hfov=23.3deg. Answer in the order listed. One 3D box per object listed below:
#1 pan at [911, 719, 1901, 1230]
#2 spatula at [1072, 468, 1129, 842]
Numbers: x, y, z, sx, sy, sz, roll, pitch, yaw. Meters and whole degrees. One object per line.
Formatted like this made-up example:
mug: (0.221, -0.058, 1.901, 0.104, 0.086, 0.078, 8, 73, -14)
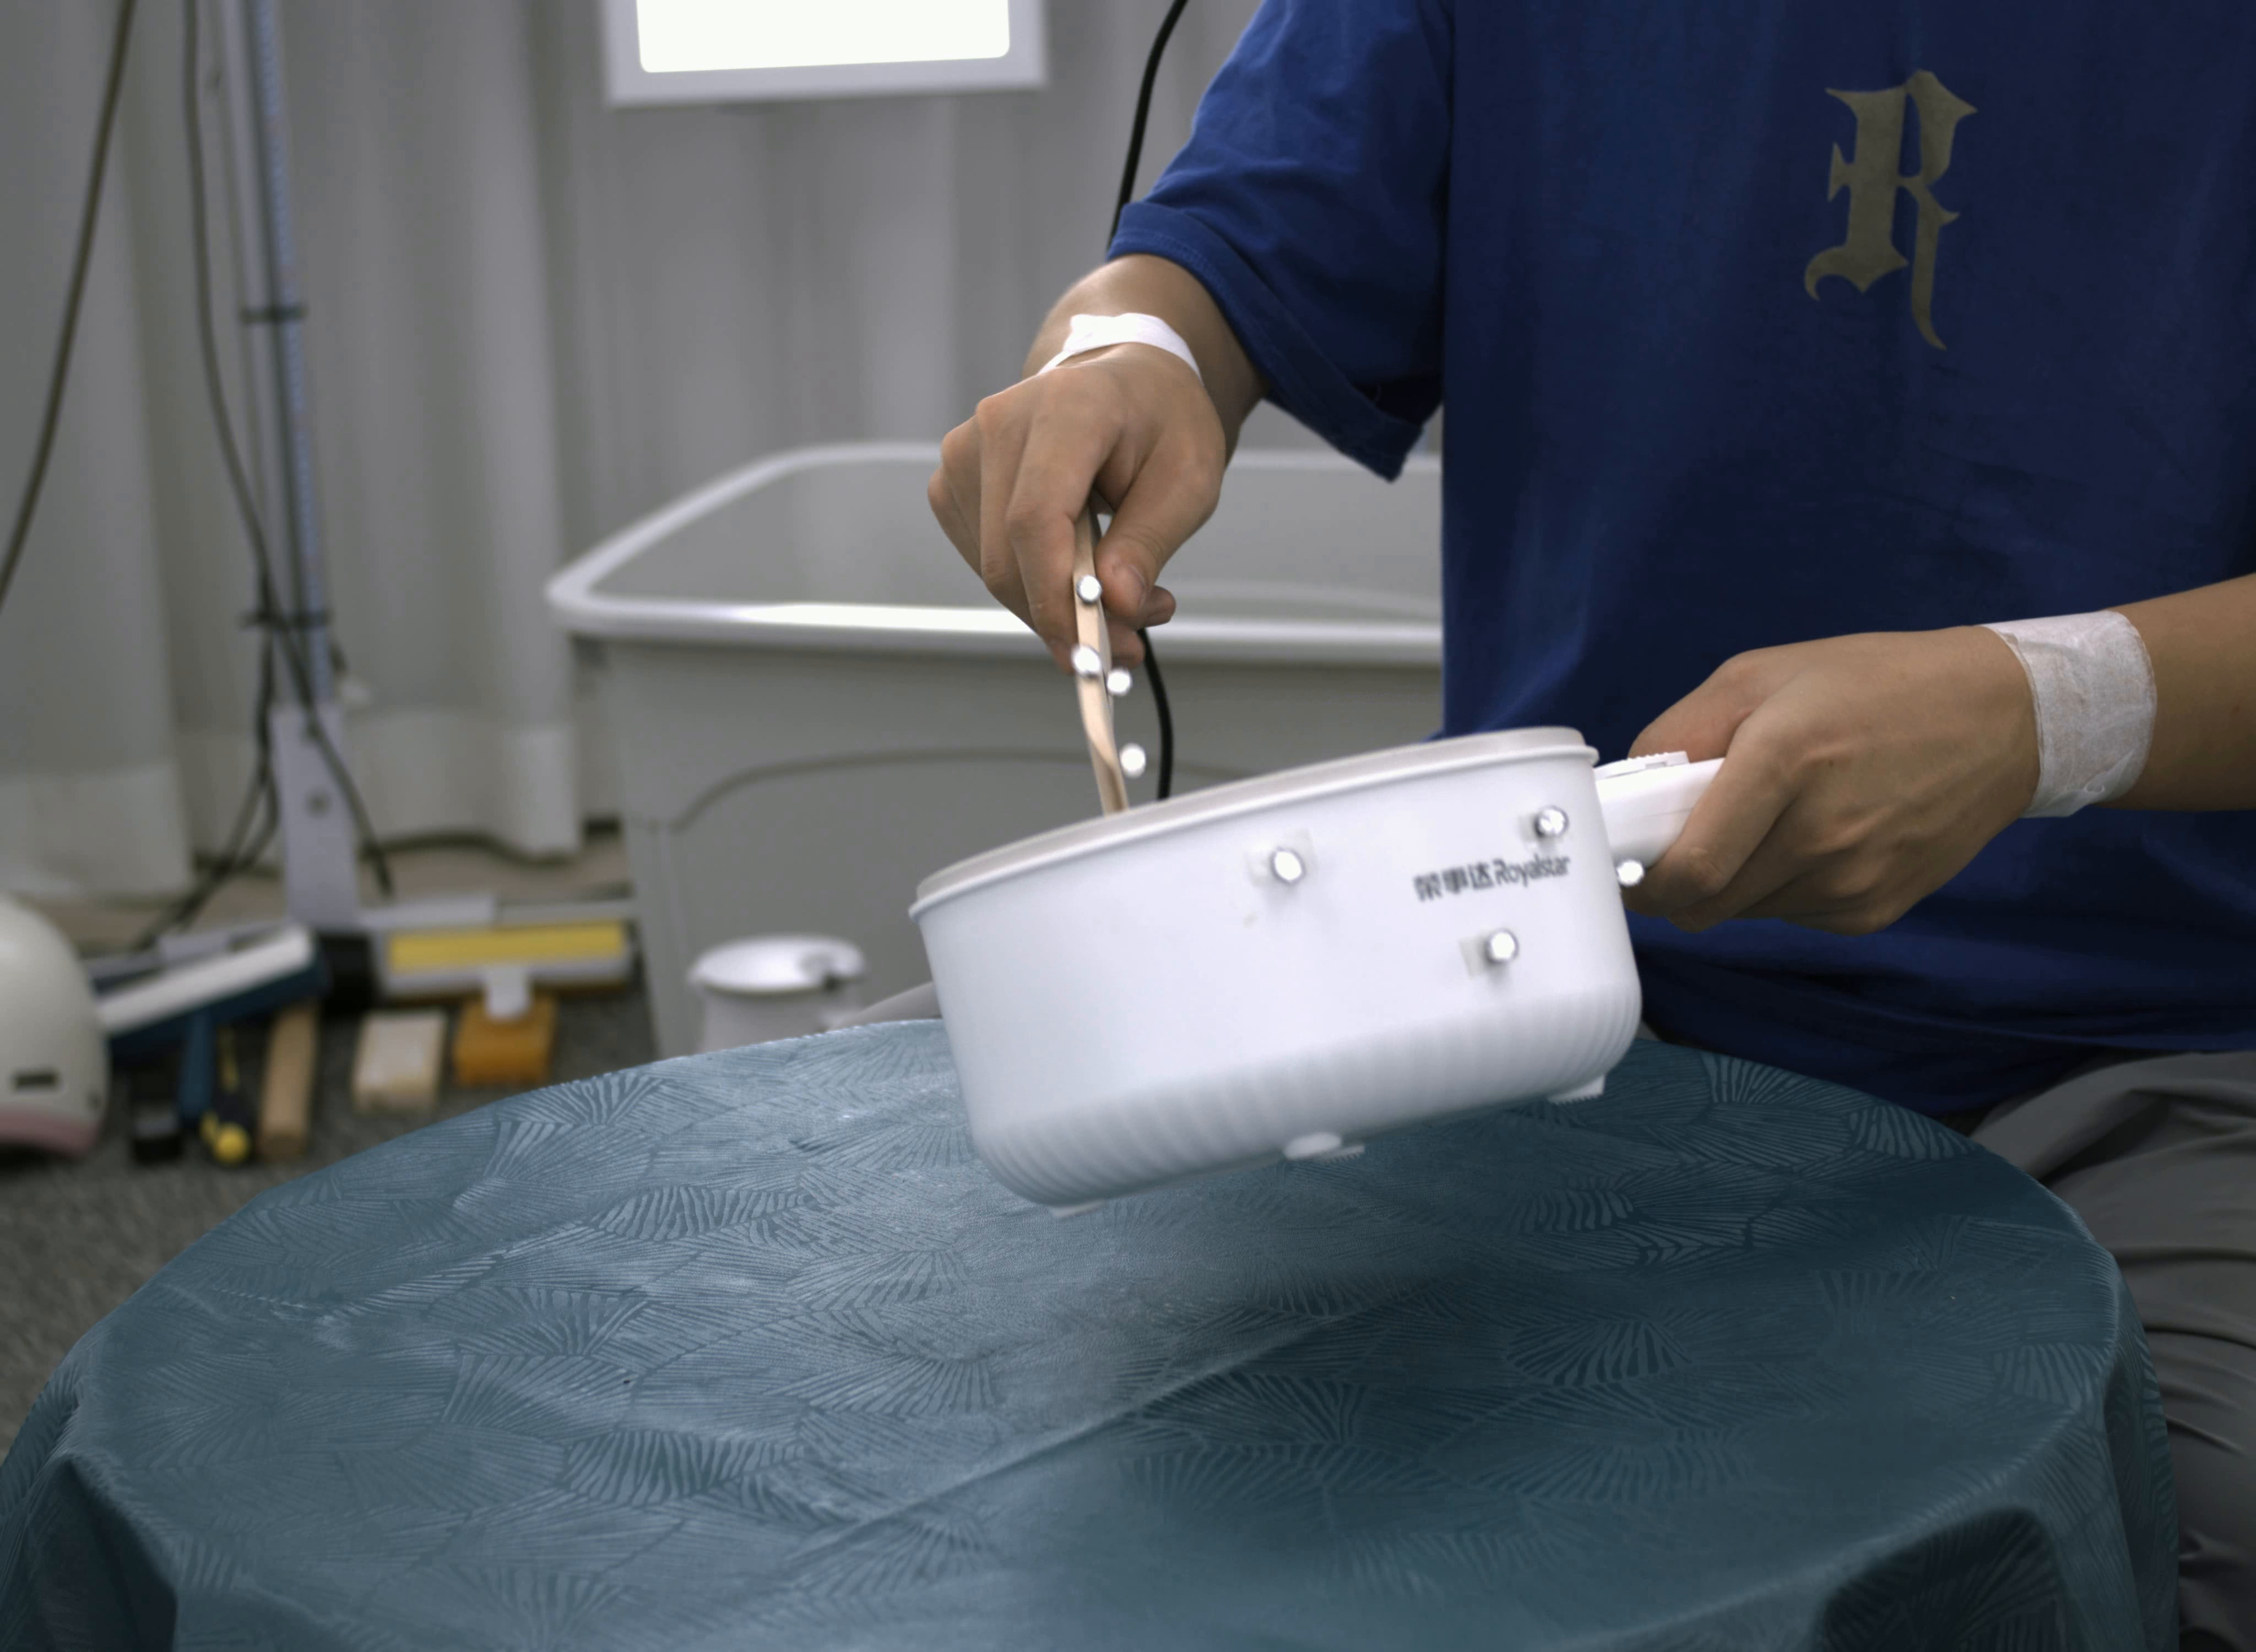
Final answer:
pan: (0.103, 0.037, 1.597, 0.353, 0.103, 0.201, -8, -10, -41)
spatula: (-0.009, -0.046, 1.647, 0.010, 0.071, 0.296, -7, 25, 1)
